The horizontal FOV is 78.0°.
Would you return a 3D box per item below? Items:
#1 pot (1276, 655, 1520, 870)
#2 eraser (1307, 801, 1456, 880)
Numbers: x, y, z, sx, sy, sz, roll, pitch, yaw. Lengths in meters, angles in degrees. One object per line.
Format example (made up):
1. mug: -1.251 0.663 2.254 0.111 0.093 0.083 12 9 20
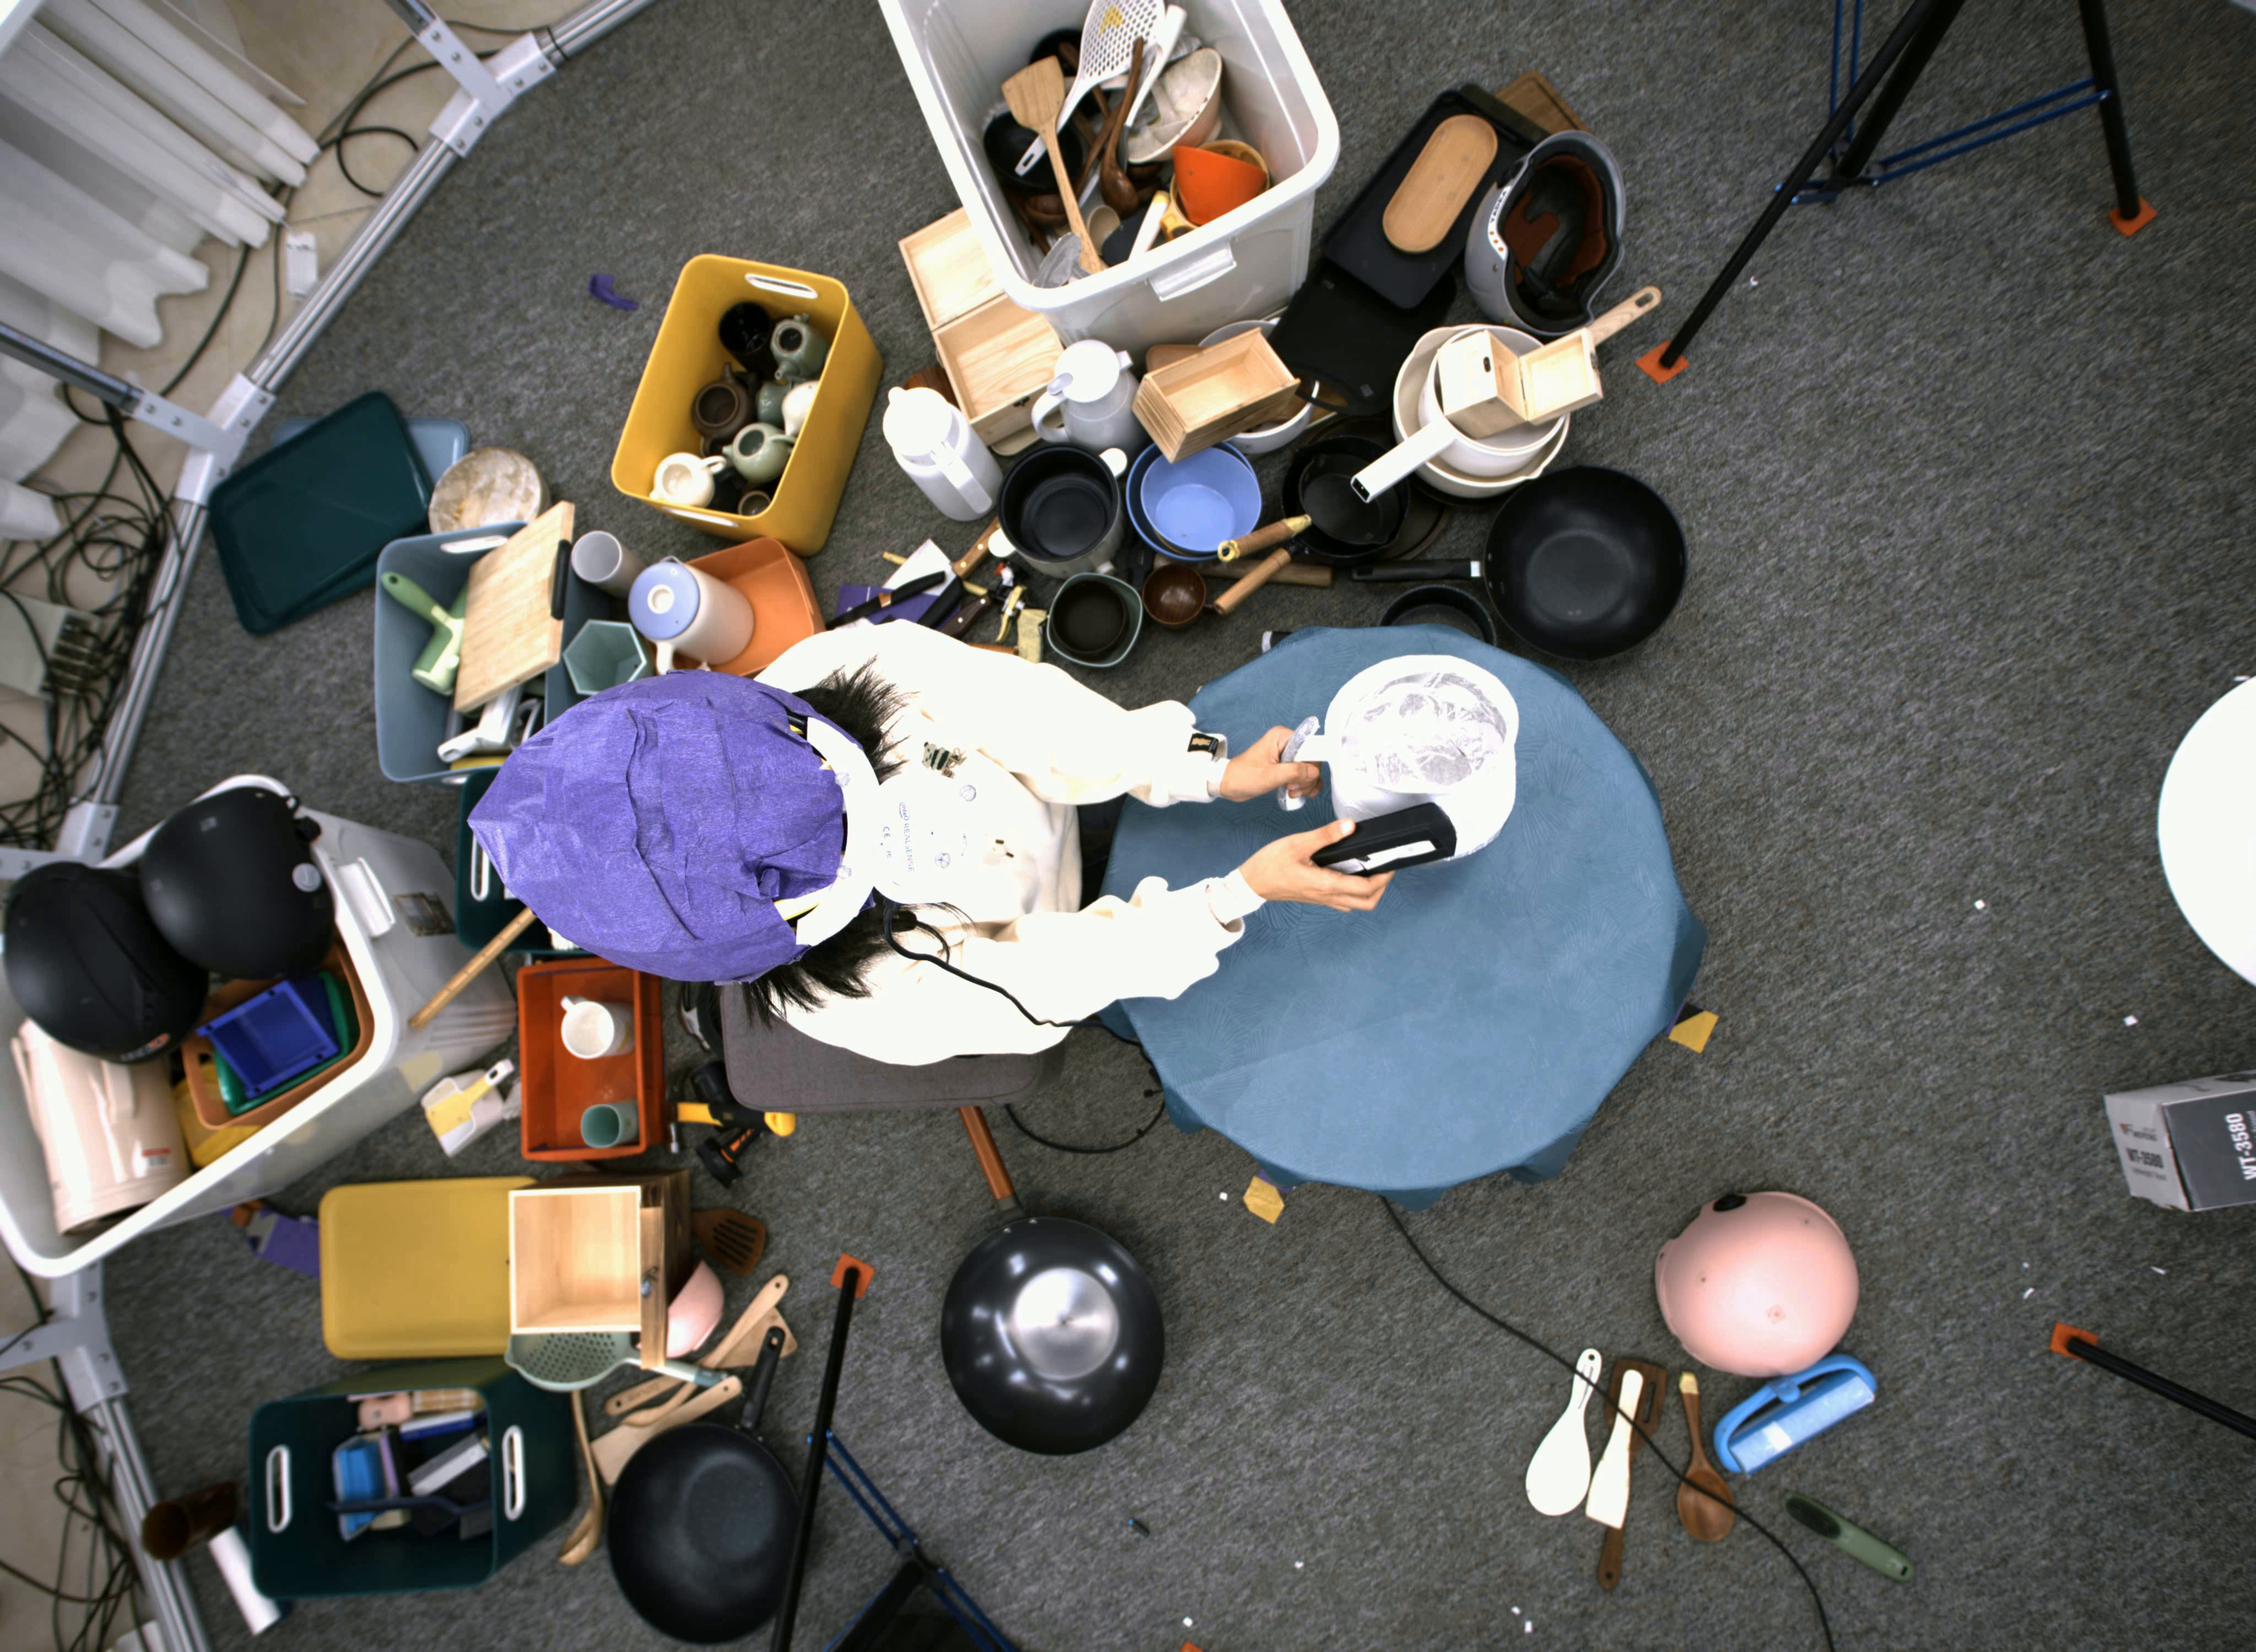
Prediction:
1. pot: 0.256 -0.058 1.328 0.235 0.139 0.174 -1 52 13
2. eraser: 0.226 0.013 1.231 0.127 0.054 0.030 -16 47 38
